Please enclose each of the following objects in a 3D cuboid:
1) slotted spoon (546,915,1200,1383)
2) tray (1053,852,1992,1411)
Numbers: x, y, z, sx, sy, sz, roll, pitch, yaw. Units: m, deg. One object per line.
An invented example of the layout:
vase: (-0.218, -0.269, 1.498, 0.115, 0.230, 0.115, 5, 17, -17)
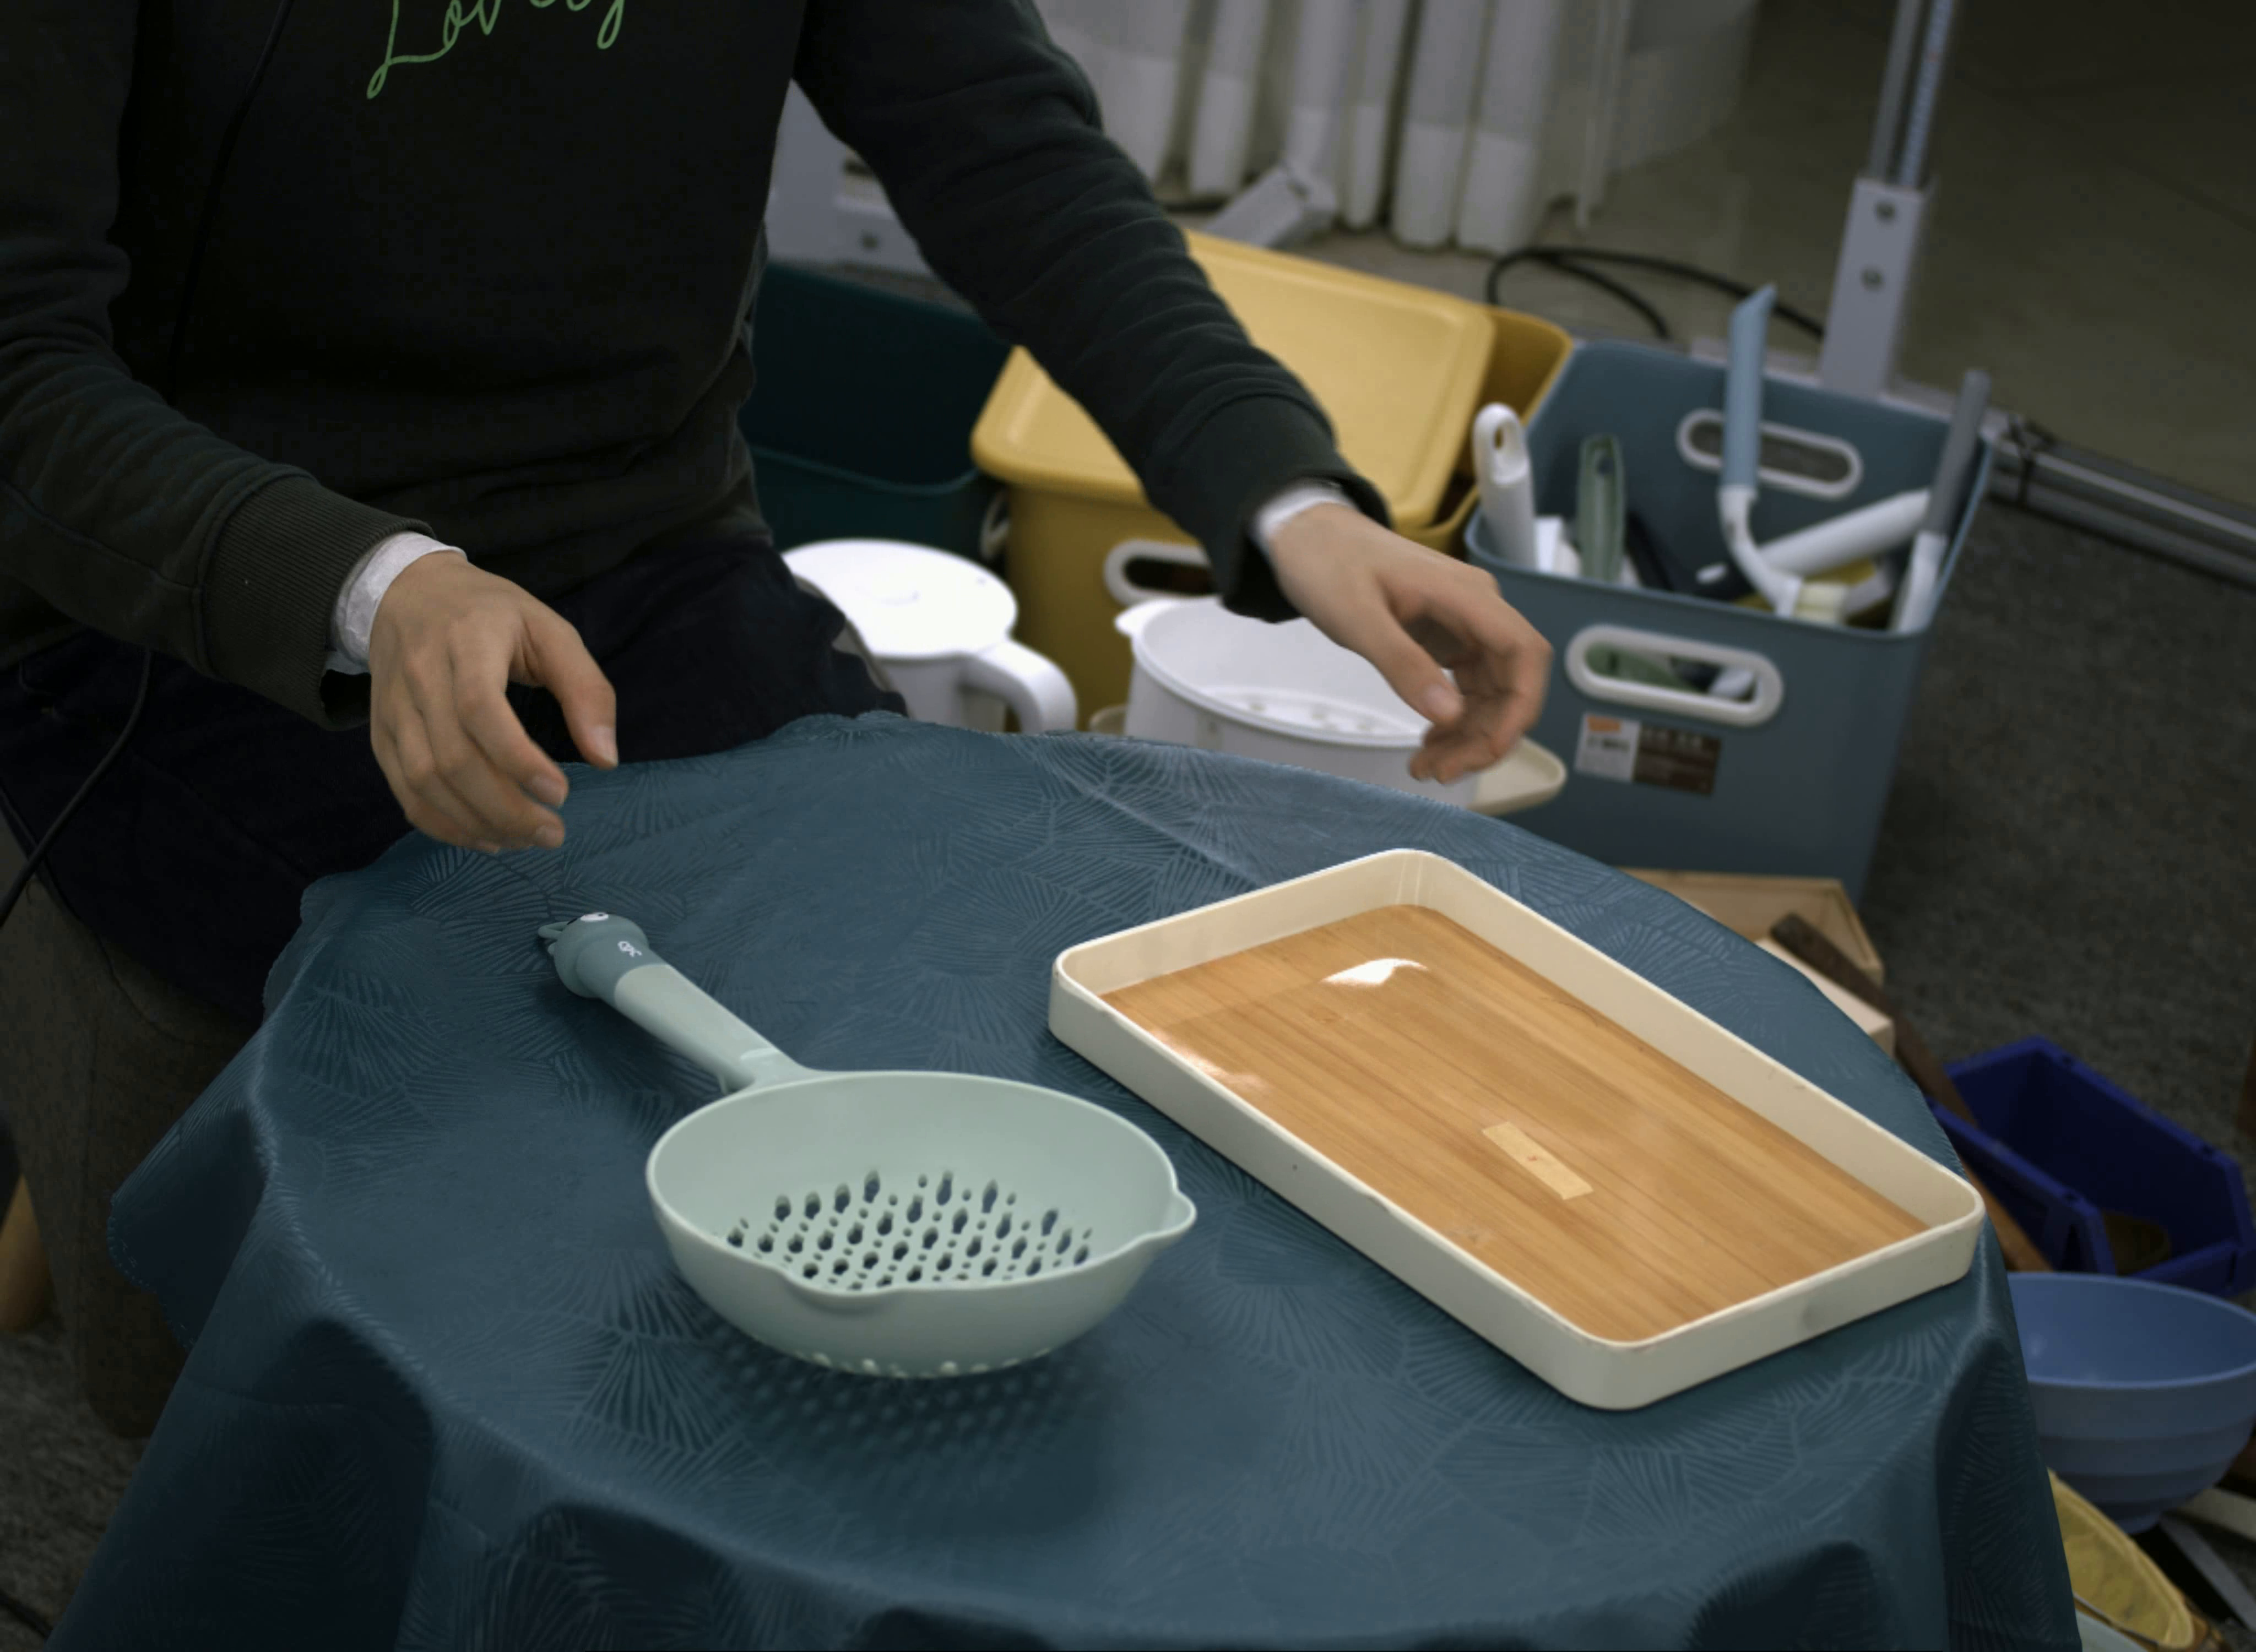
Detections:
slotted spoon: (-0.116, 0.091, 1.766, 0.168, 0.075, 0.362, -8, 30, -28)
tray: (0.133, 0.100, 1.849, 0.190, 0.027, 0.303, -15, 34, -37)
